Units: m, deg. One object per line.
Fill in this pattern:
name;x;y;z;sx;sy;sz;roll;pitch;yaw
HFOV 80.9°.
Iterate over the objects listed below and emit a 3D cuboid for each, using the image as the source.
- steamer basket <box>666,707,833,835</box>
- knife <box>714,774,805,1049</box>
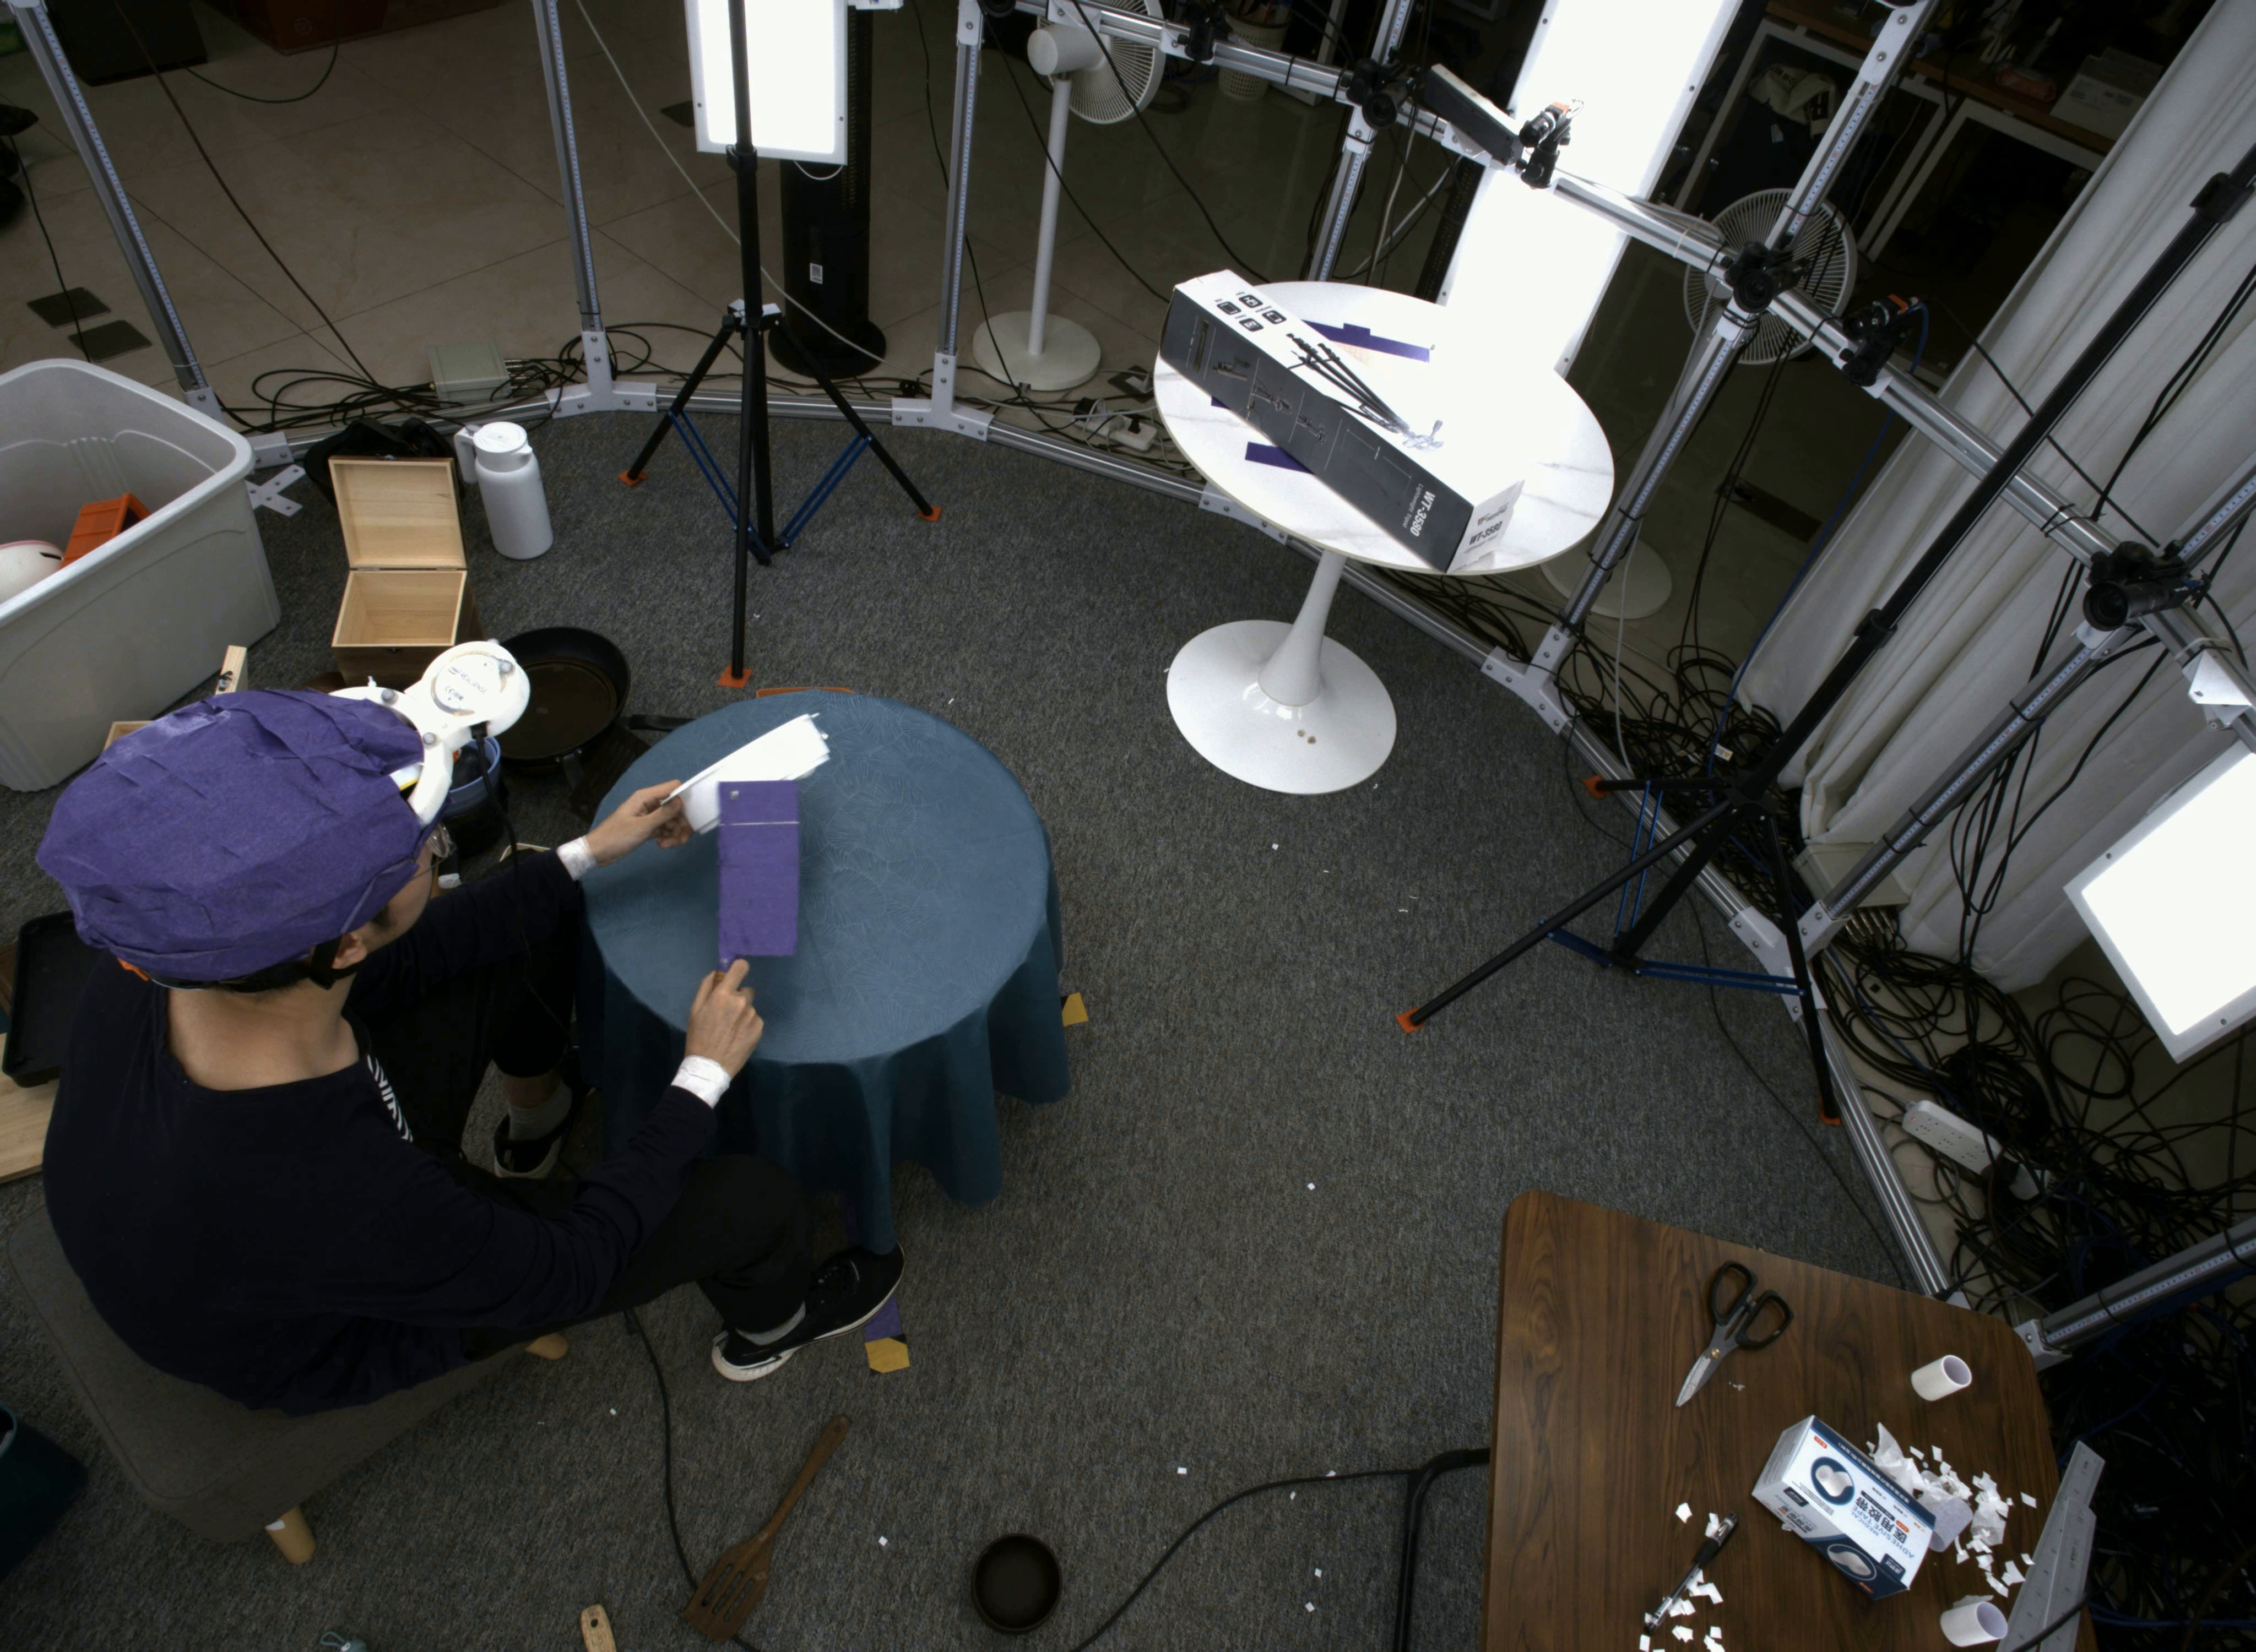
steamer basket;-0.464;-0.067;1.616;0.231;0.198;0.070;-39;100;-35
knife;-0.429;0.096;1.508;0.104;0.032;0.318;0;88;-16
